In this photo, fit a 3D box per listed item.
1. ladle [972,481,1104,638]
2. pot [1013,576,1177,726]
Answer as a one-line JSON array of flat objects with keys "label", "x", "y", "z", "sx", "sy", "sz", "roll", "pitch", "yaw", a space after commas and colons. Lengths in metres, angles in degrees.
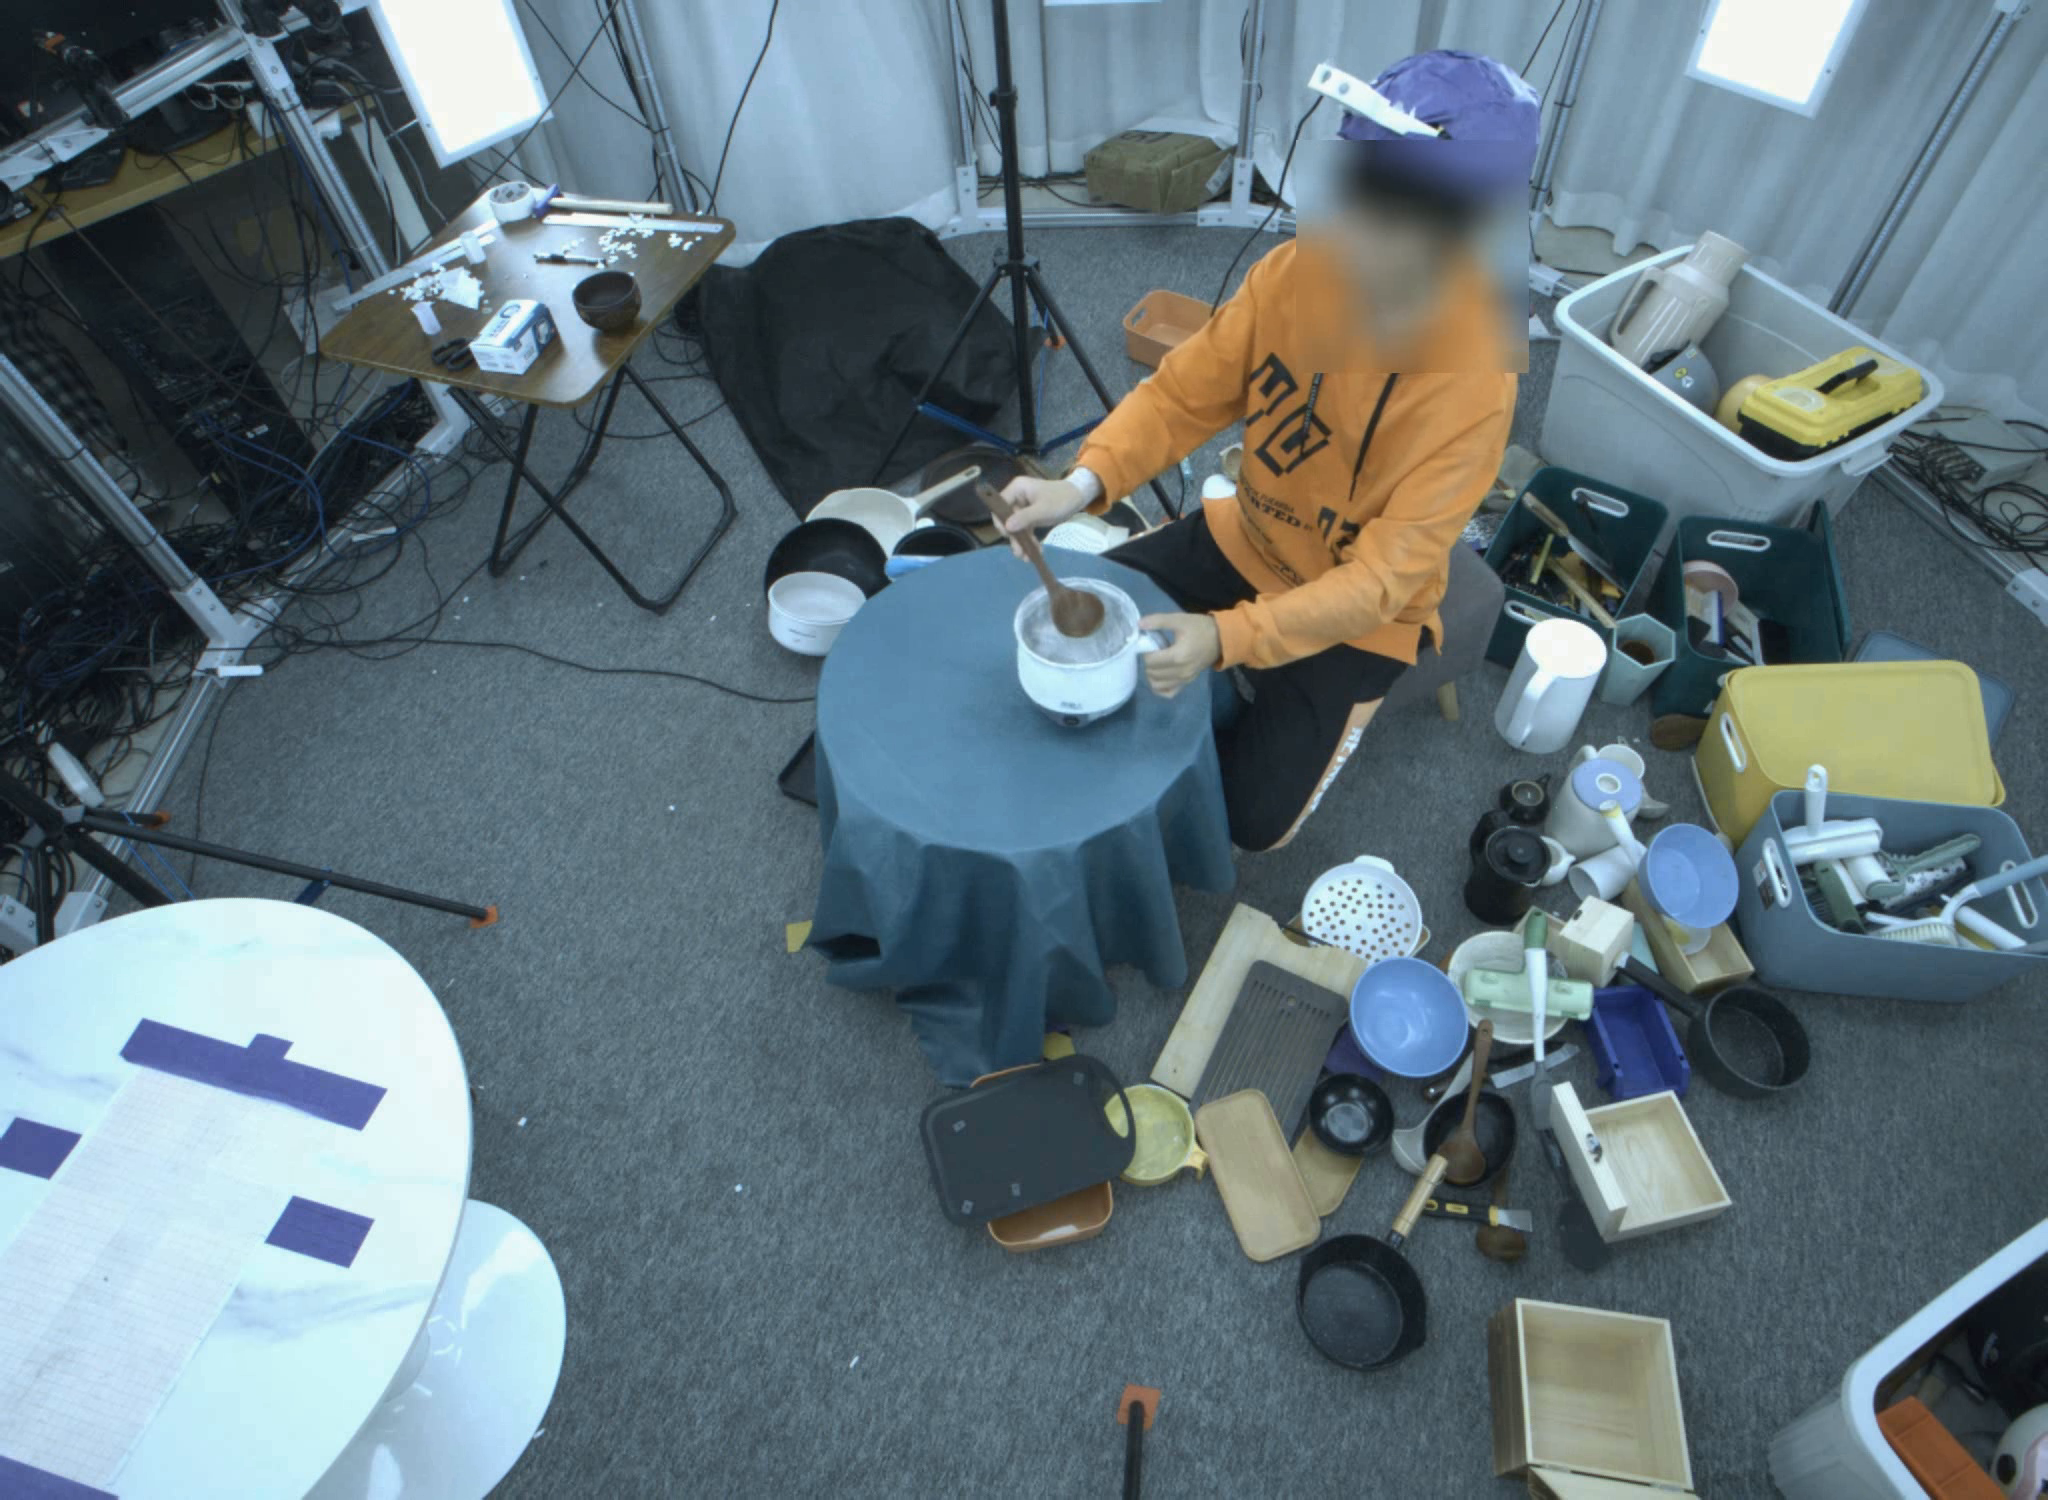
[{"label": "ladle", "x": 0.017, "y": -0.266, "z": 1.683, "sx": 0.077, "sy": 0.064, "sz": 0.263, "roll": -41, "pitch": 105, "yaw": -21}, {"label": "pot", "x": 0.103, "y": -0.140, "z": 1.765, "sx": 0.233, "sy": 0.138, "sz": 0.177, "roll": 4, "pitch": 54, "yaw": 5}]
